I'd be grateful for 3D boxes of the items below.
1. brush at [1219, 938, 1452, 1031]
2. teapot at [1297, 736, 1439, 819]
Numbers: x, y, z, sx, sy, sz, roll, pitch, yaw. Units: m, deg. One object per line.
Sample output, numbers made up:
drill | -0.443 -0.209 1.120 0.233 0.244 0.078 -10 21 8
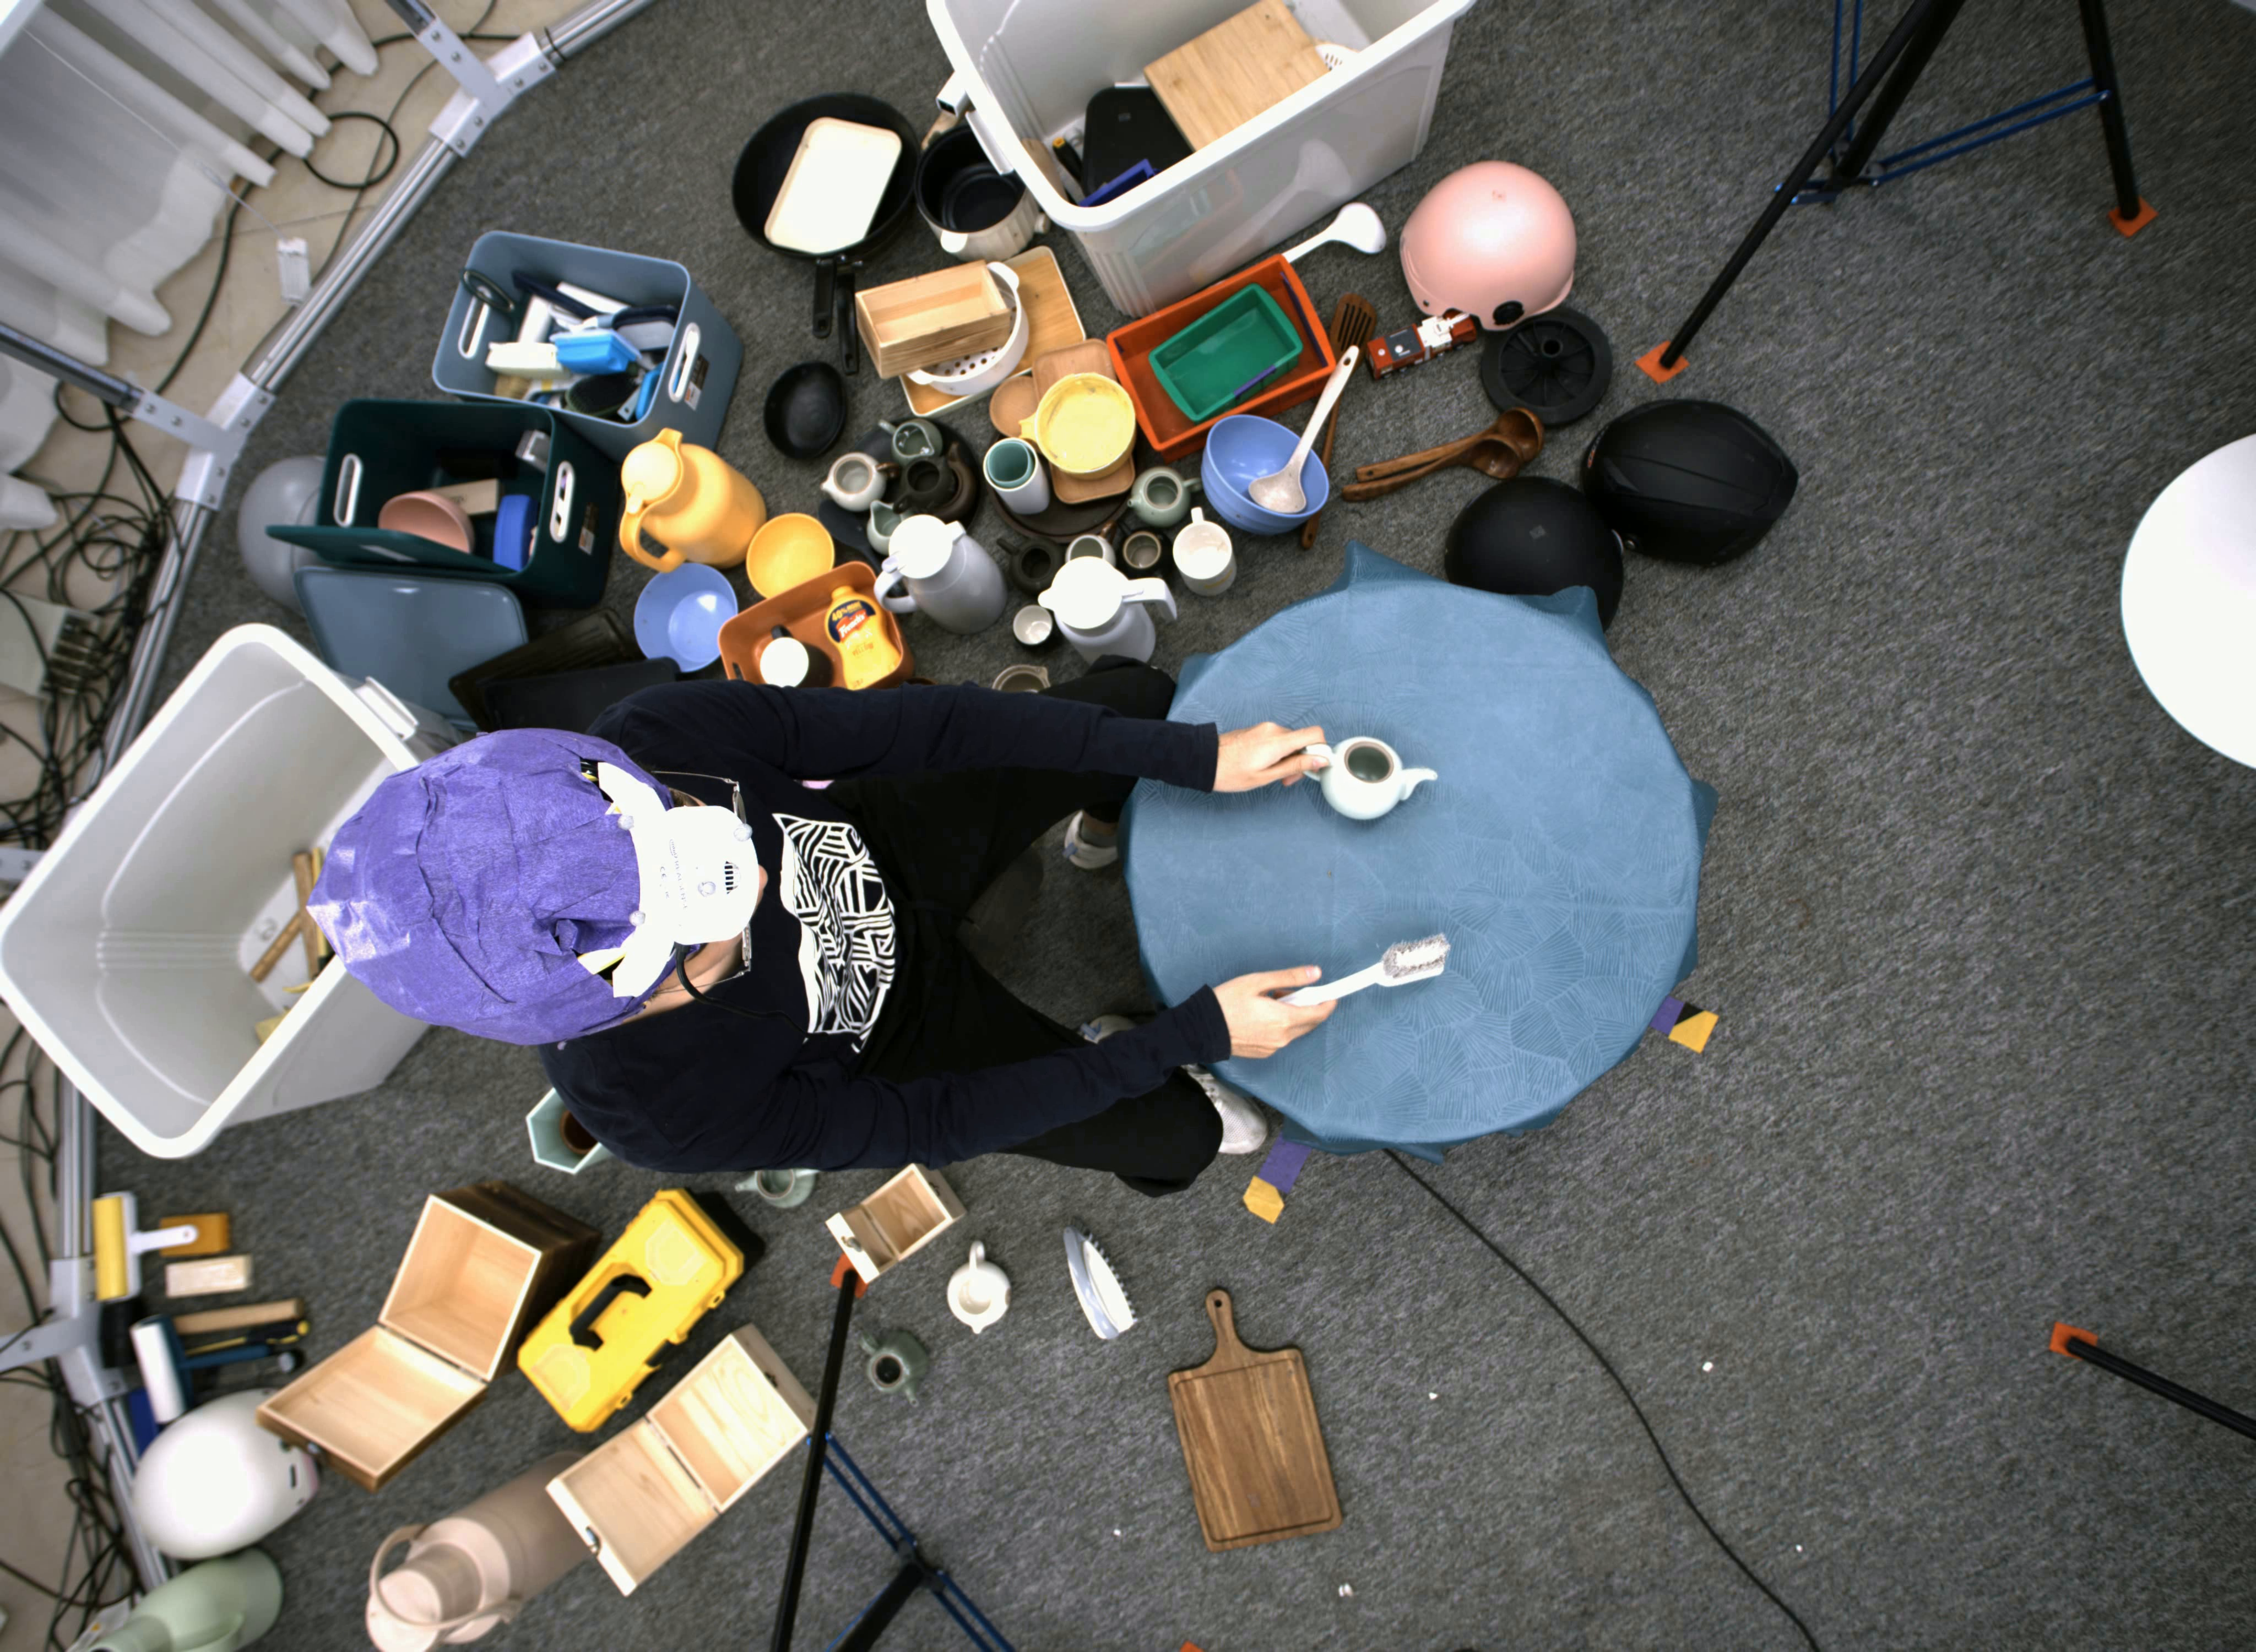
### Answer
brush | 0.206 0.161 1.397 0.245 0.051 0.034 -17 70 9
teapot | 0.243 -0.052 1.428 0.144 0.076 0.086 14 61 0
